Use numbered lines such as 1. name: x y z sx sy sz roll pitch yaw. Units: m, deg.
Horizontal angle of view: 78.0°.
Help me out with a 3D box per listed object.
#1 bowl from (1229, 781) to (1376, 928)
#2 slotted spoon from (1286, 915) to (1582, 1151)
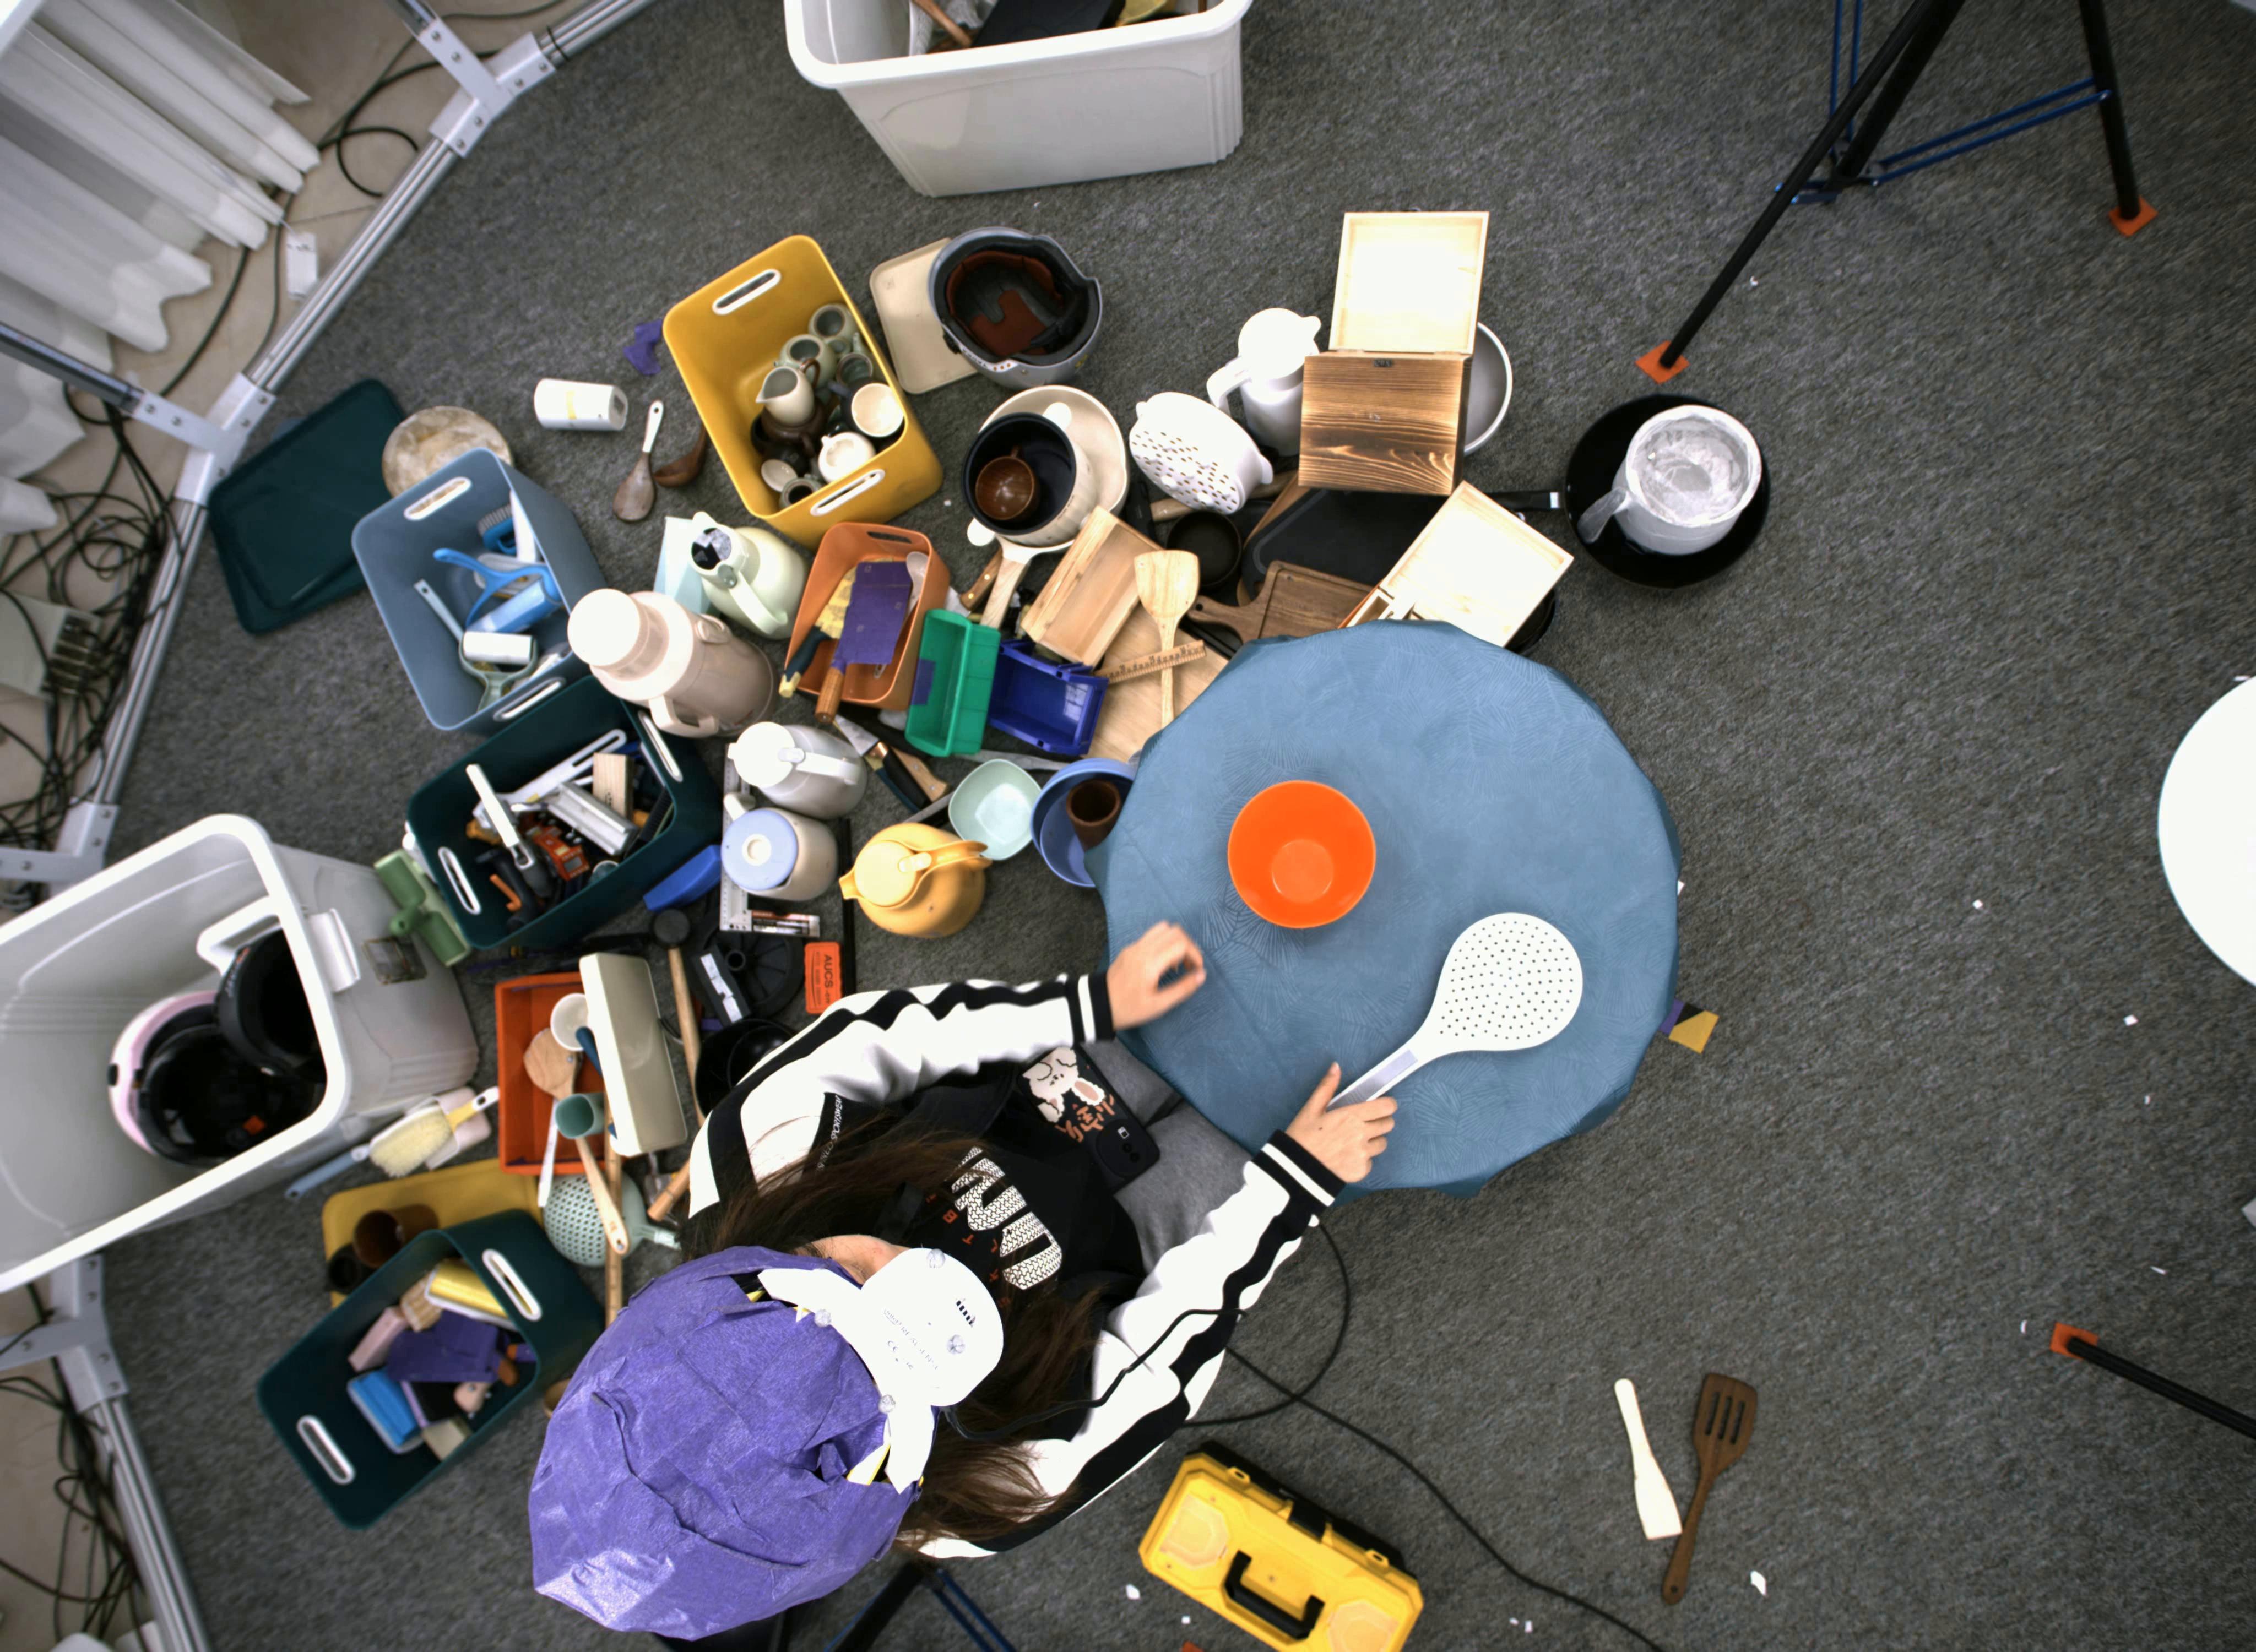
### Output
1. bowl: 0.180 0.032 1.428 0.148 0.104 0.147 -1 87 9
2. slotted spoon: 0.308 0.223 1.422 0.351 0.046 0.135 -38 82 7
